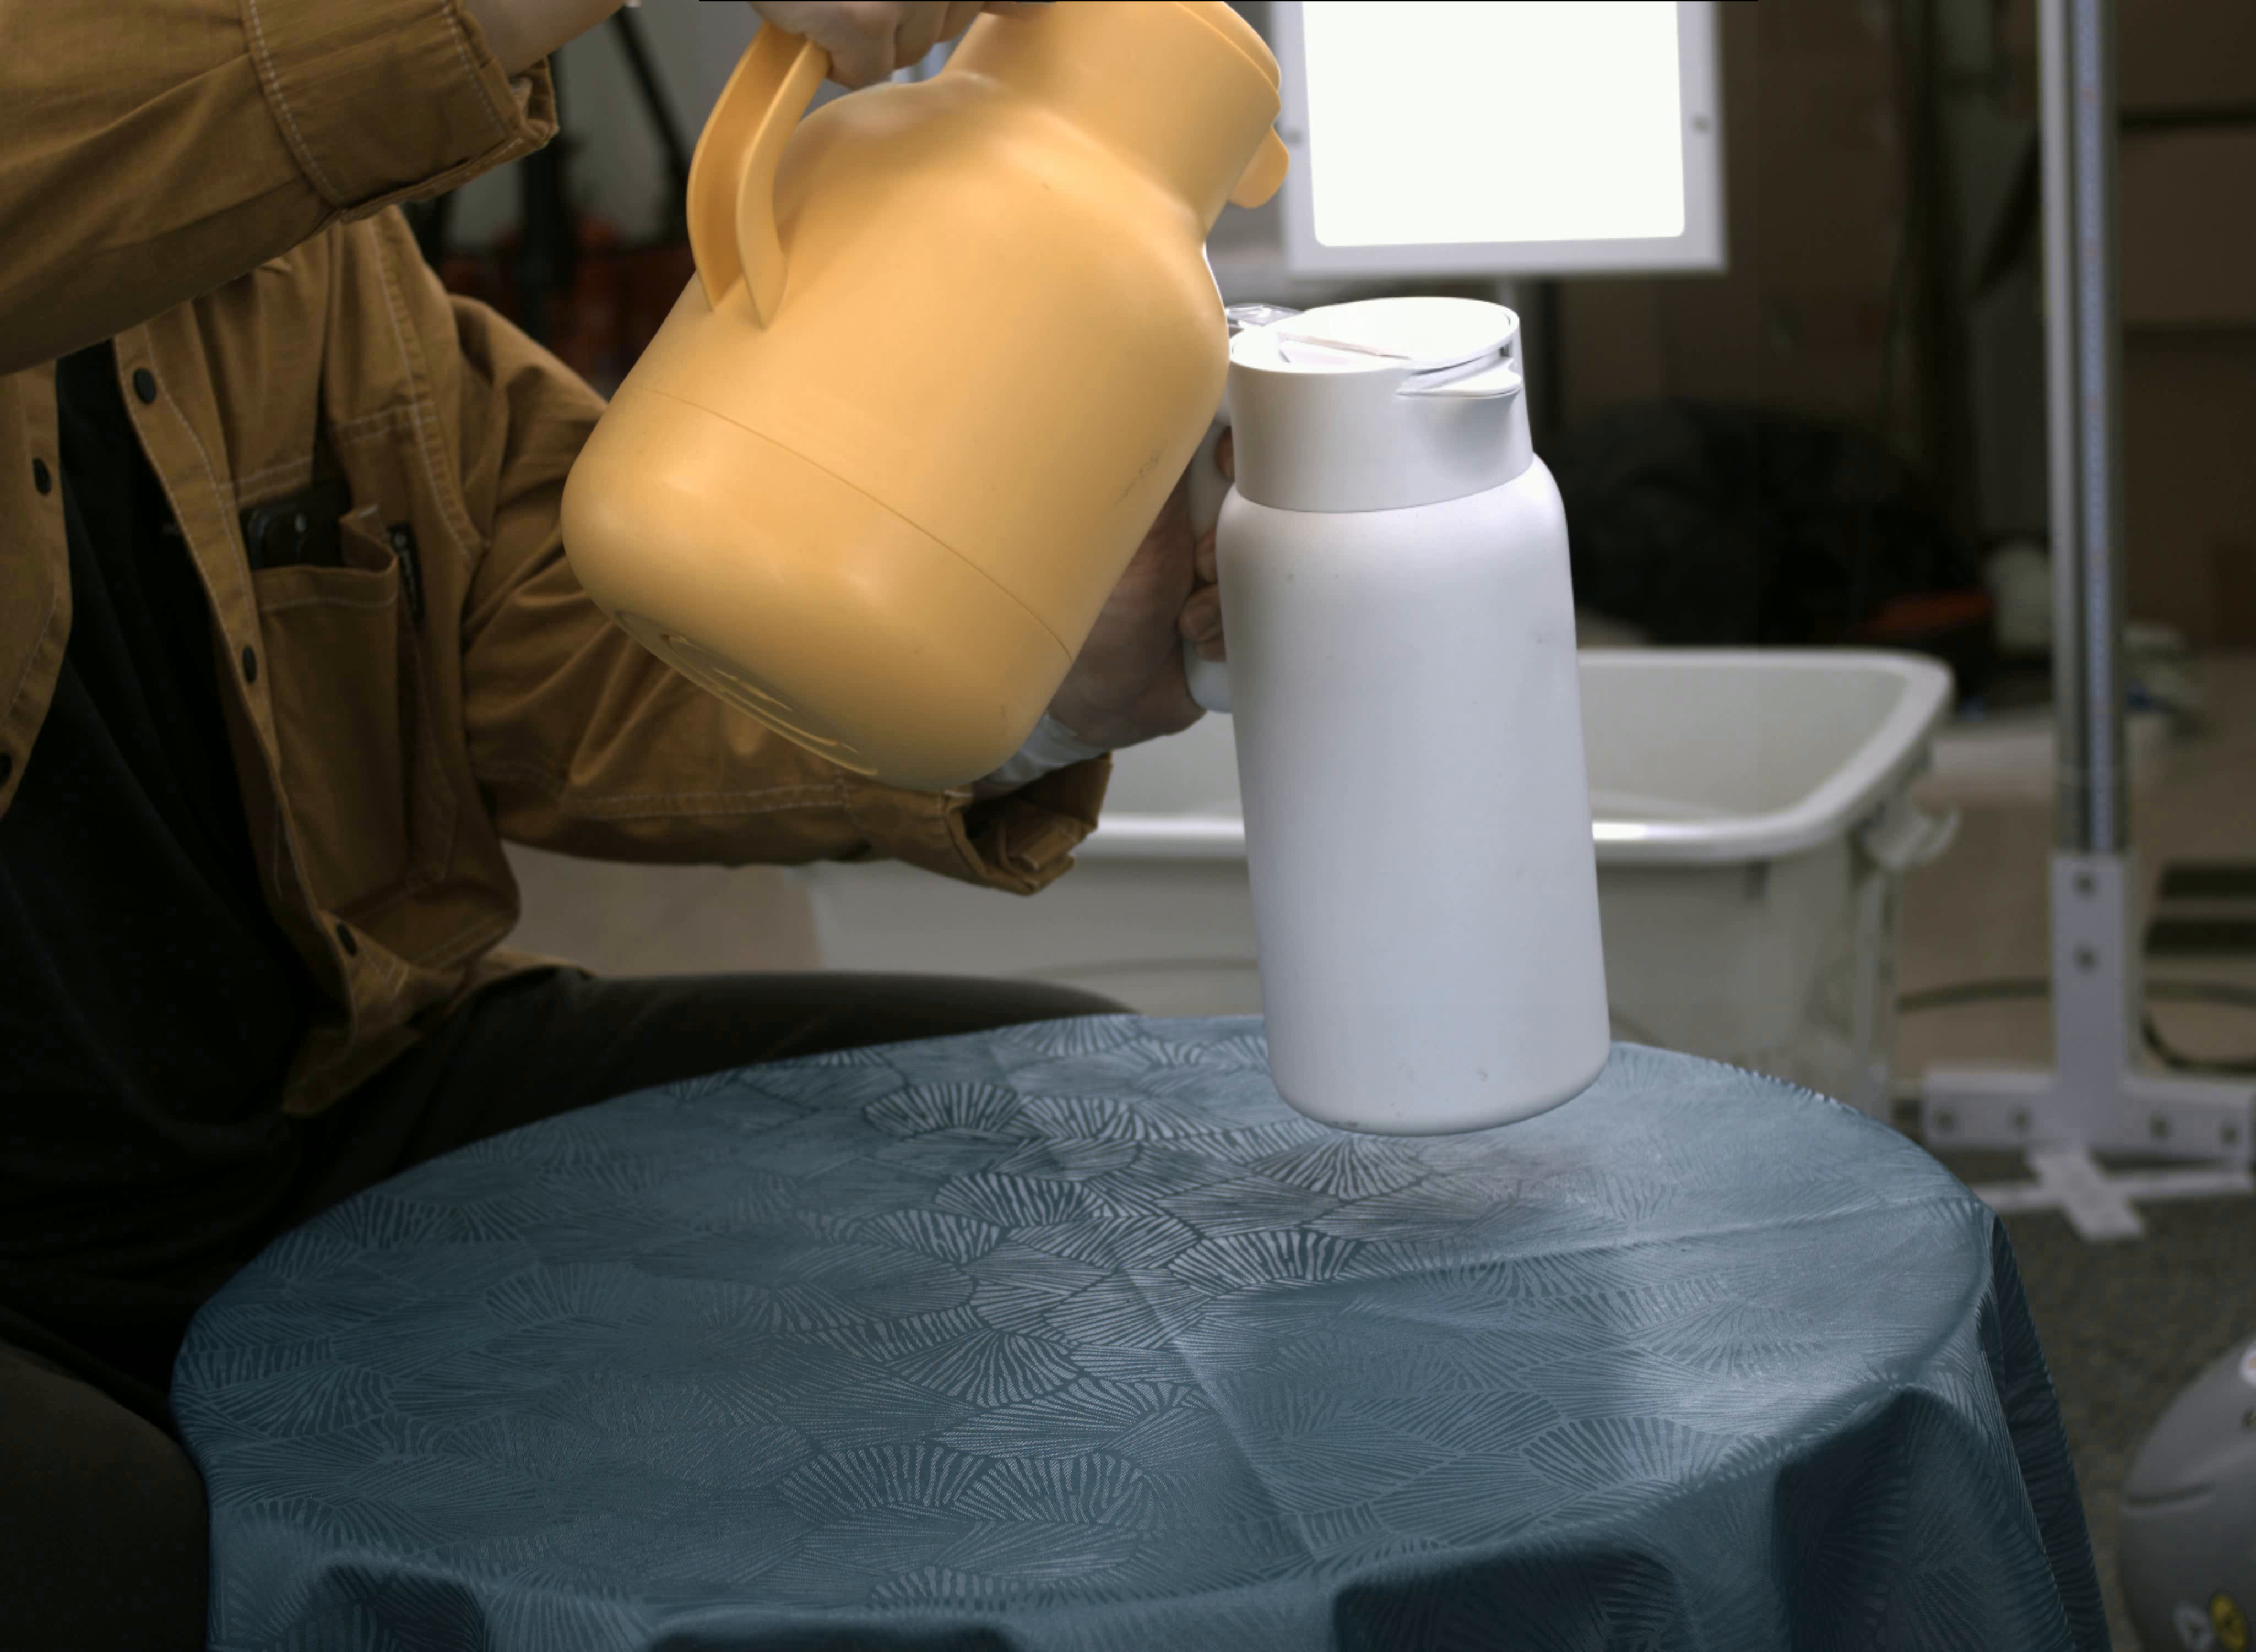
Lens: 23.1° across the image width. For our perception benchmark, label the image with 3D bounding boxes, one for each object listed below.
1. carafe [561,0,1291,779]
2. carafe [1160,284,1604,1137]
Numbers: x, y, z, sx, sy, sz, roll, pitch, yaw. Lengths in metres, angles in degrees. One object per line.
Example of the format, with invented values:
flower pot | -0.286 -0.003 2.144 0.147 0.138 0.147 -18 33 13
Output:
carafe | -0.063 -0.164 1.687 0.167 0.259 0.199 19 -17 48
carafe | 0.080 -0.041 1.847 0.121 0.269 0.176 -22 23 -33
